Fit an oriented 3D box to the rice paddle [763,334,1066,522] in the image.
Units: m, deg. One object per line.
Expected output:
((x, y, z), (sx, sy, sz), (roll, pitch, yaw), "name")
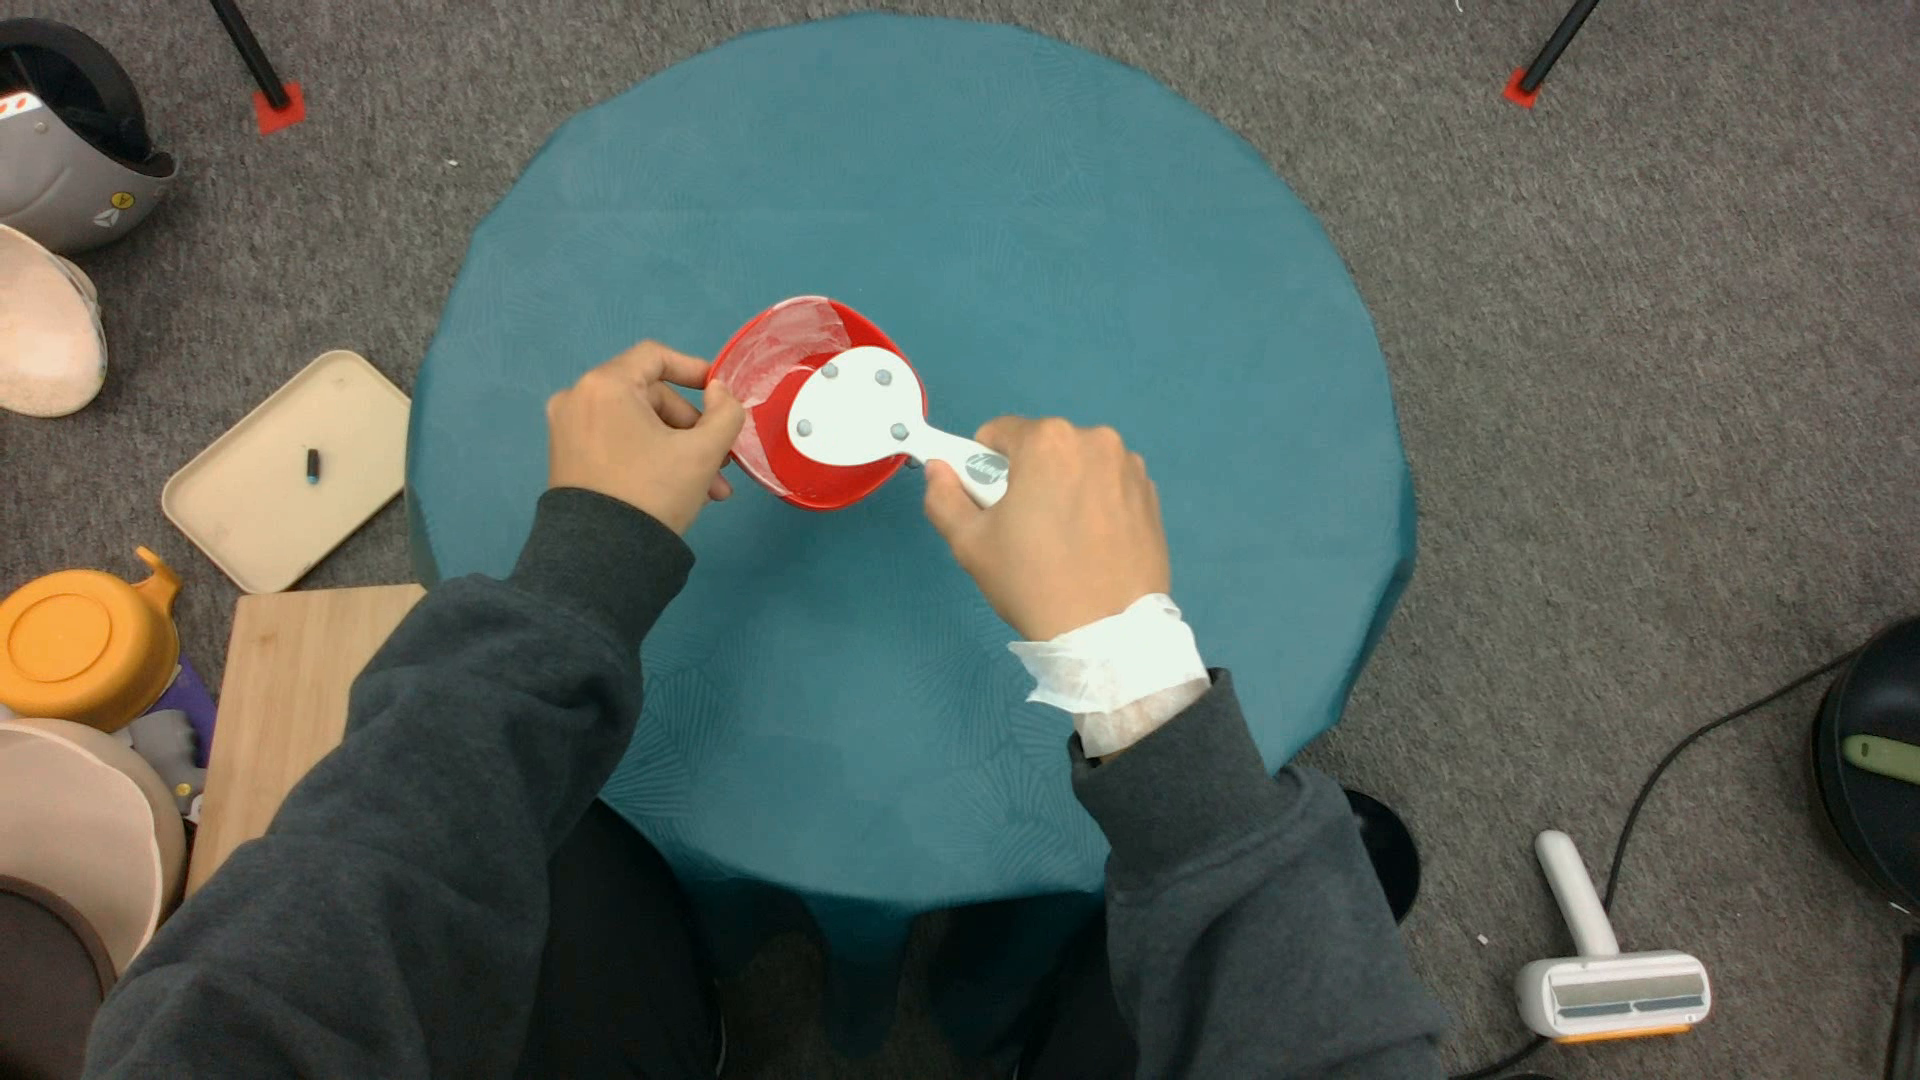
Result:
((-0.031, -0.056, 0.656), (0.205, 0.029, 0.069), (28, 77, 44), "rice paddle")

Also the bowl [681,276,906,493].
((-0.093, -0.076, 0.739), (0.119, 0.051, 0.119), (5, 72, -18), "bowl")
